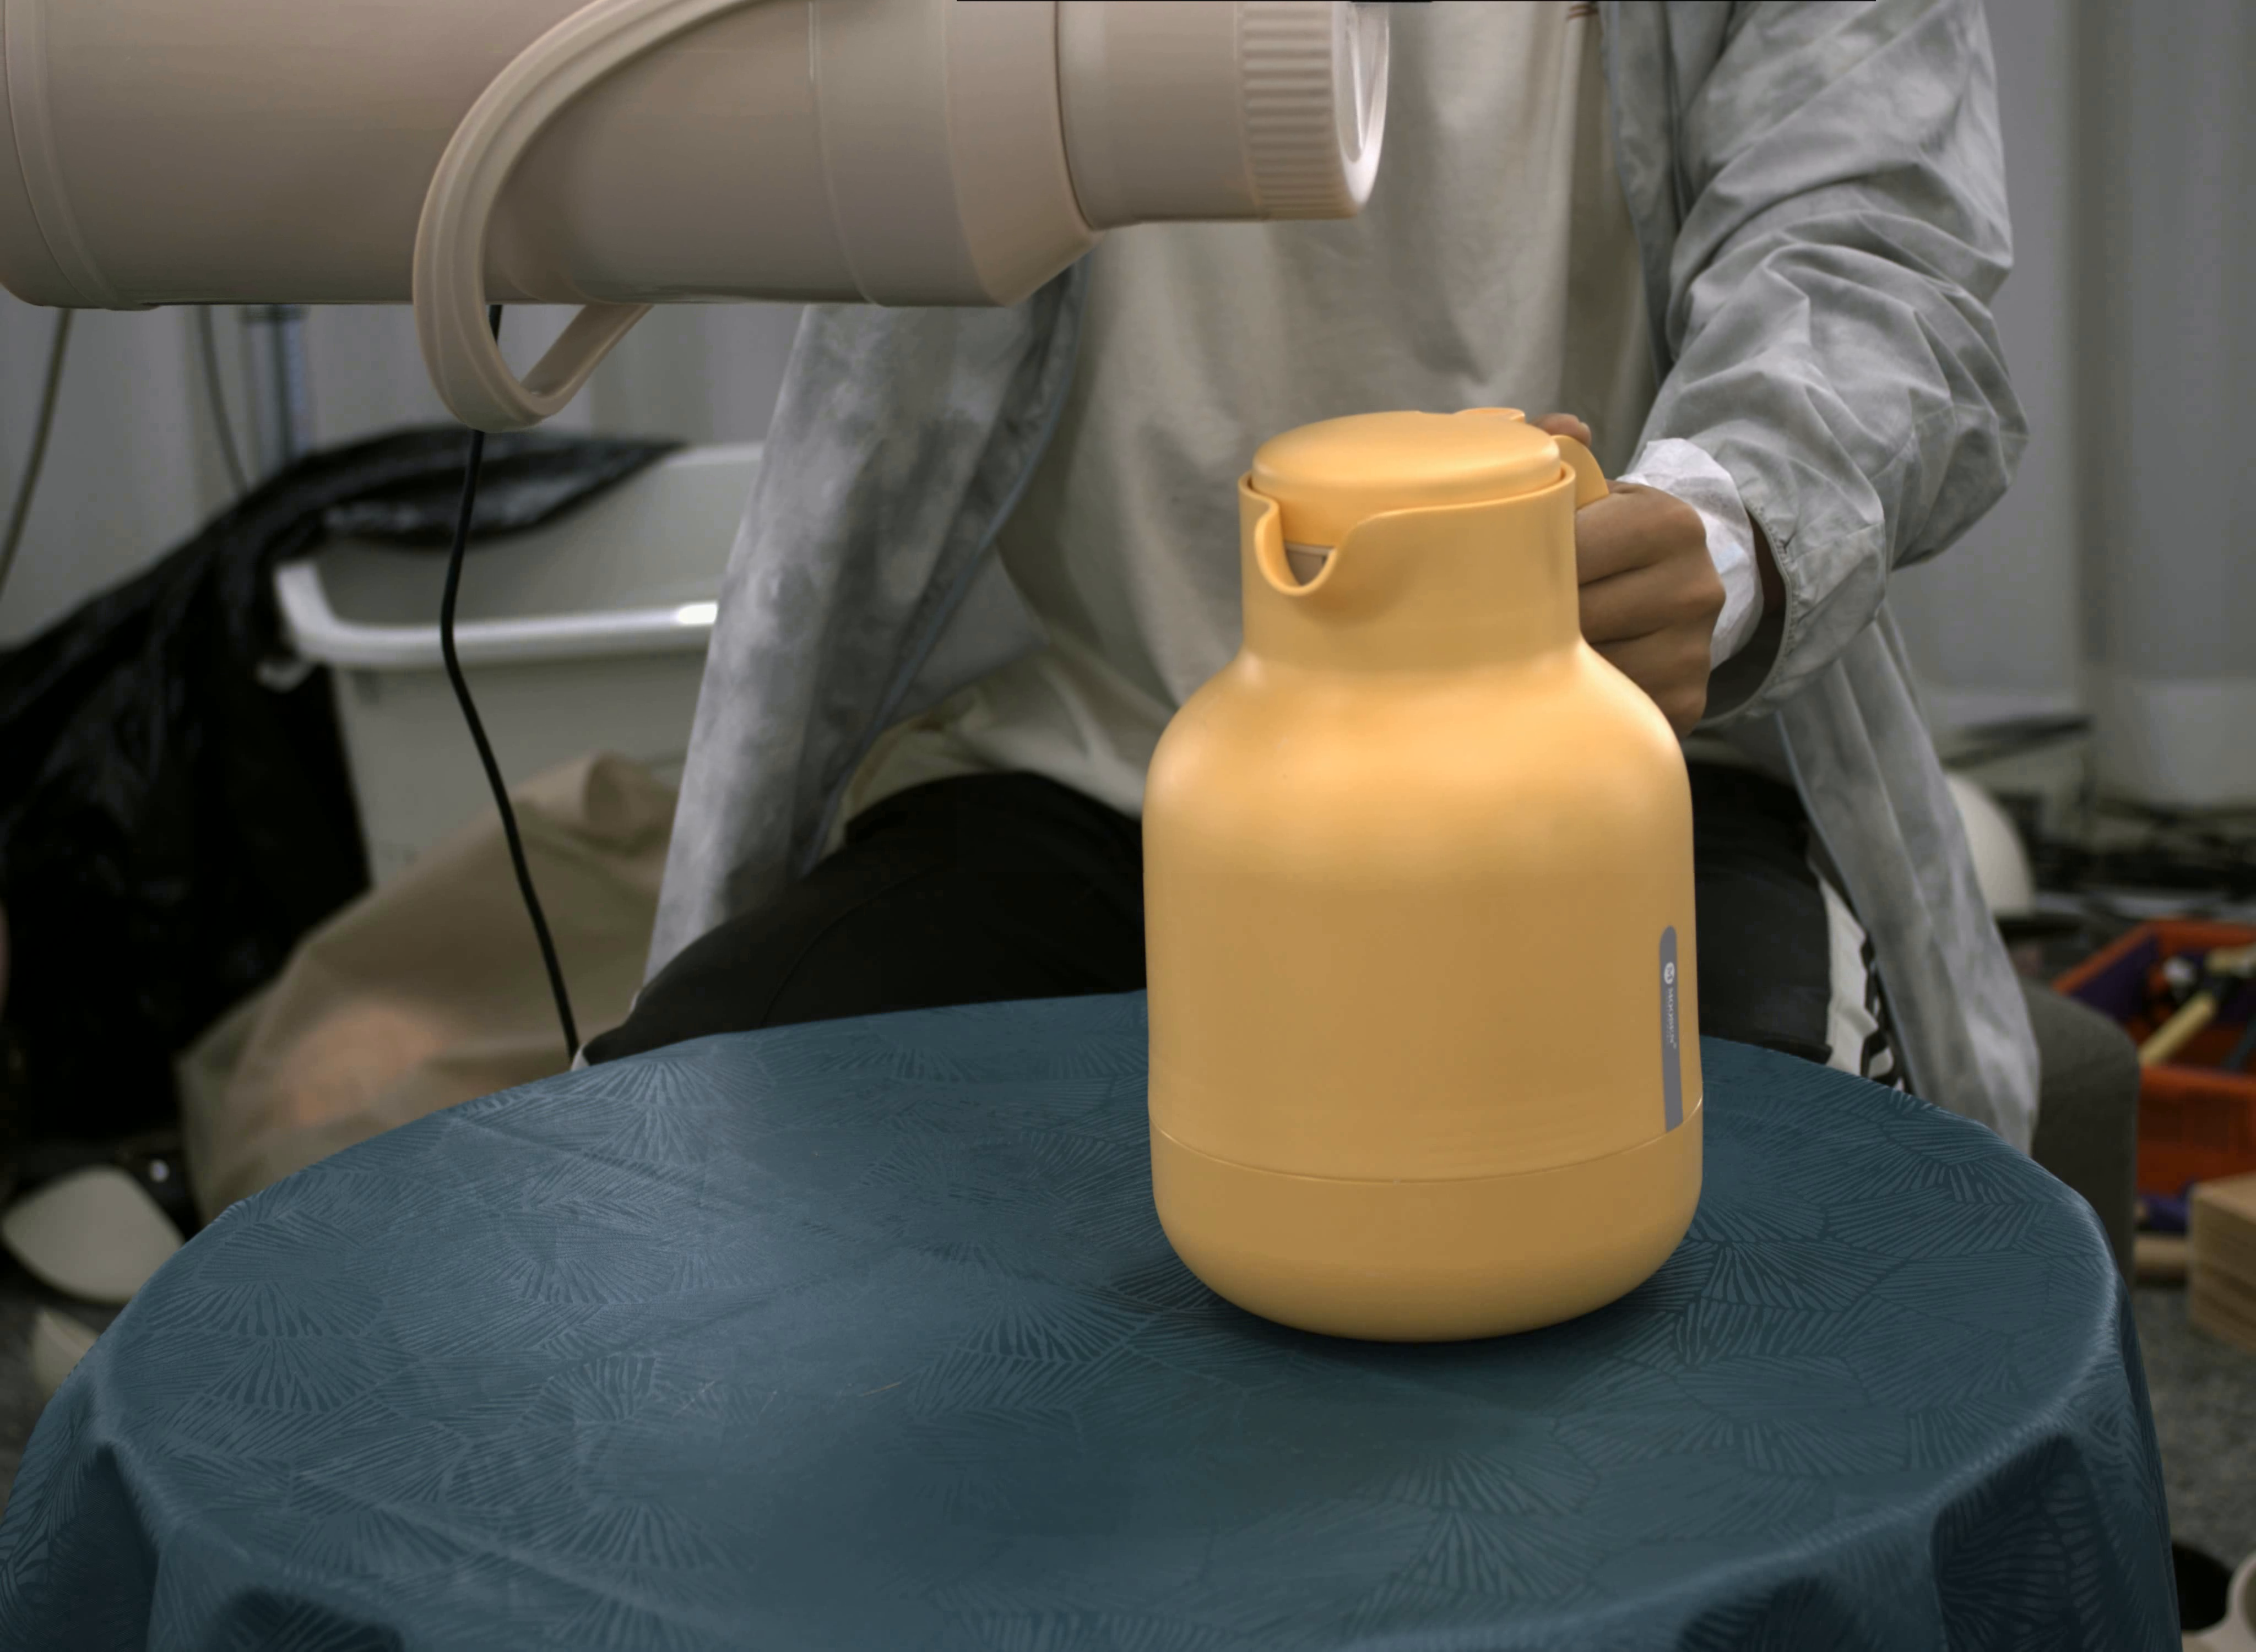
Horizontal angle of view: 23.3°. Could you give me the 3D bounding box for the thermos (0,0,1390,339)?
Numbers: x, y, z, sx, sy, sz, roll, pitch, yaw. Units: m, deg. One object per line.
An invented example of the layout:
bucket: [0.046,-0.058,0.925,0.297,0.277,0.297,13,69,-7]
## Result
thermos: [-0.129,-0.244,1.605,0.406,0.209,0.174,1,-12,13]

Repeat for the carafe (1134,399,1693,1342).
carafe: [0.093,0.005,1.610,0.164,0.259,0.202,8,18,30]
